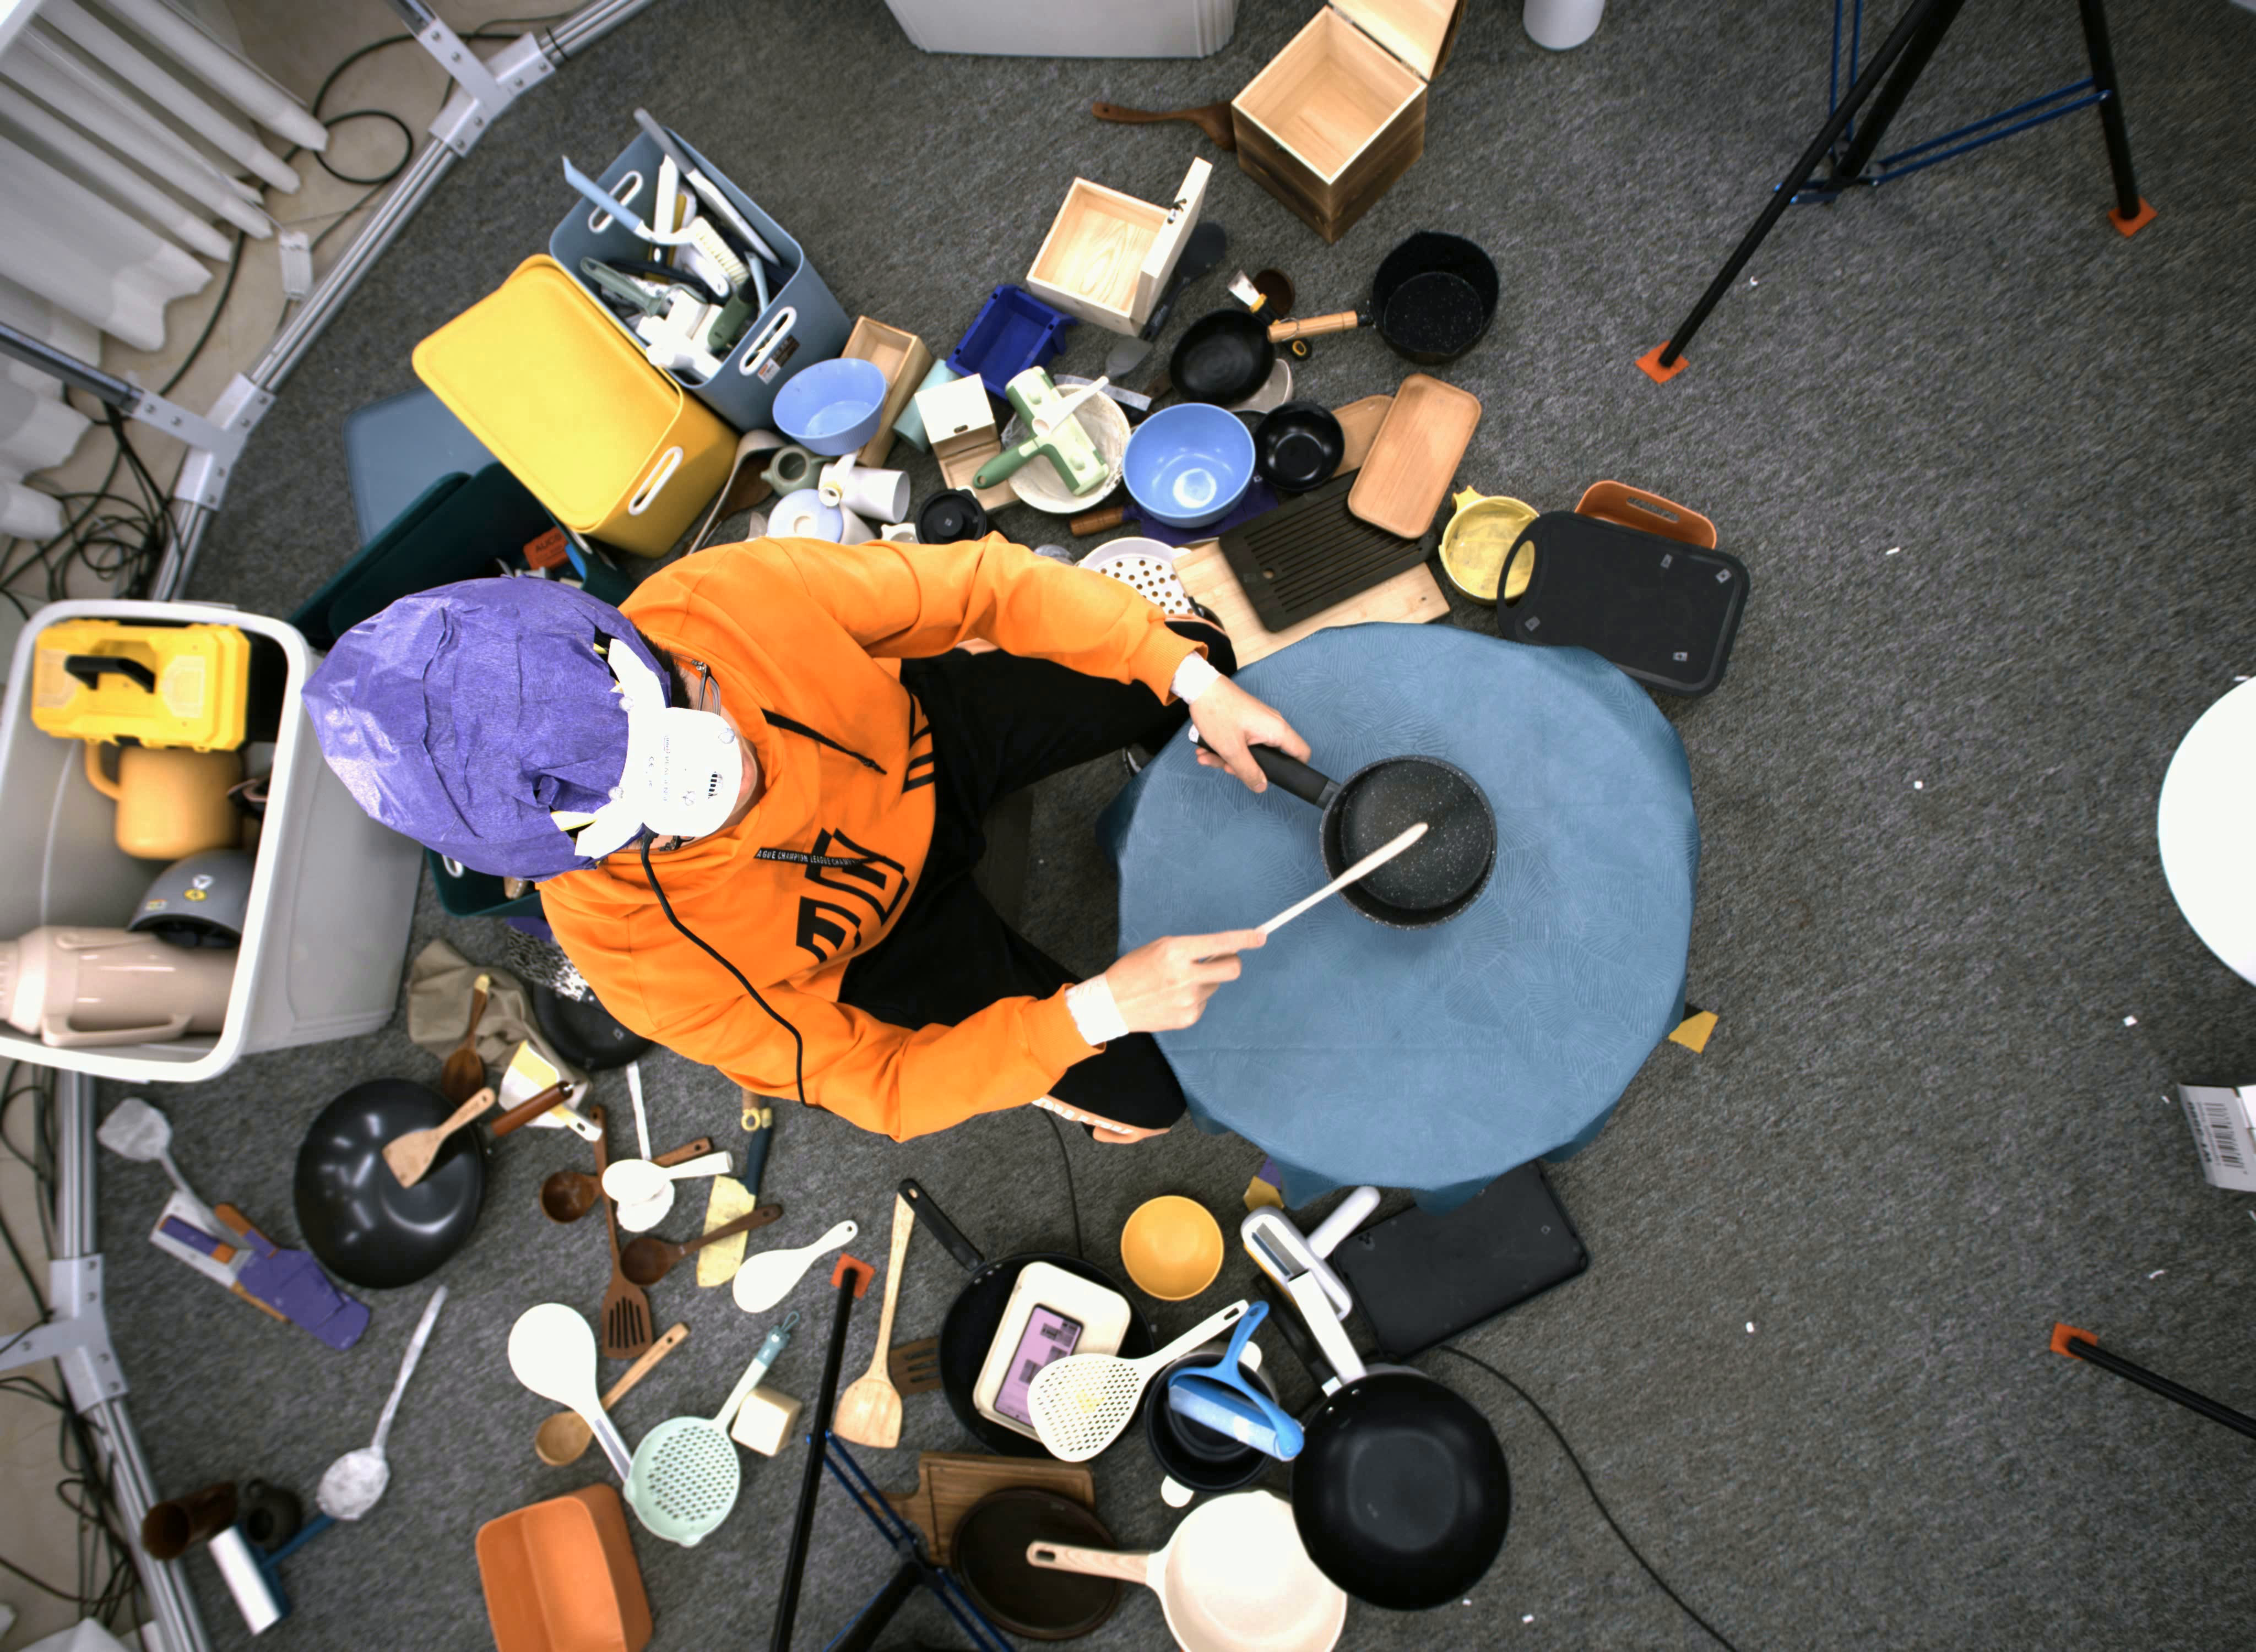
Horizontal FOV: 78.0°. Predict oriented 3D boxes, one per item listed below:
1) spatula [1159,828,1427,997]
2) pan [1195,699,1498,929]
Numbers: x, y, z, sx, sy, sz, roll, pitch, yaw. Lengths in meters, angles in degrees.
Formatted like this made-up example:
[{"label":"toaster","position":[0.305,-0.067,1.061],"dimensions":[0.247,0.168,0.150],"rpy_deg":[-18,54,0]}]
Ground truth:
[{"label":"spatula","position":[0.153,0.083,1.302],"dimensions":[0.294,0.072,0.010],"rpy_deg":[-32,92,6]},{"label":"pan","position":[0.216,-0.031,1.384],"dimensions":[0.328,0.085,0.174],"rpy_deg":[33,107,10]}]
